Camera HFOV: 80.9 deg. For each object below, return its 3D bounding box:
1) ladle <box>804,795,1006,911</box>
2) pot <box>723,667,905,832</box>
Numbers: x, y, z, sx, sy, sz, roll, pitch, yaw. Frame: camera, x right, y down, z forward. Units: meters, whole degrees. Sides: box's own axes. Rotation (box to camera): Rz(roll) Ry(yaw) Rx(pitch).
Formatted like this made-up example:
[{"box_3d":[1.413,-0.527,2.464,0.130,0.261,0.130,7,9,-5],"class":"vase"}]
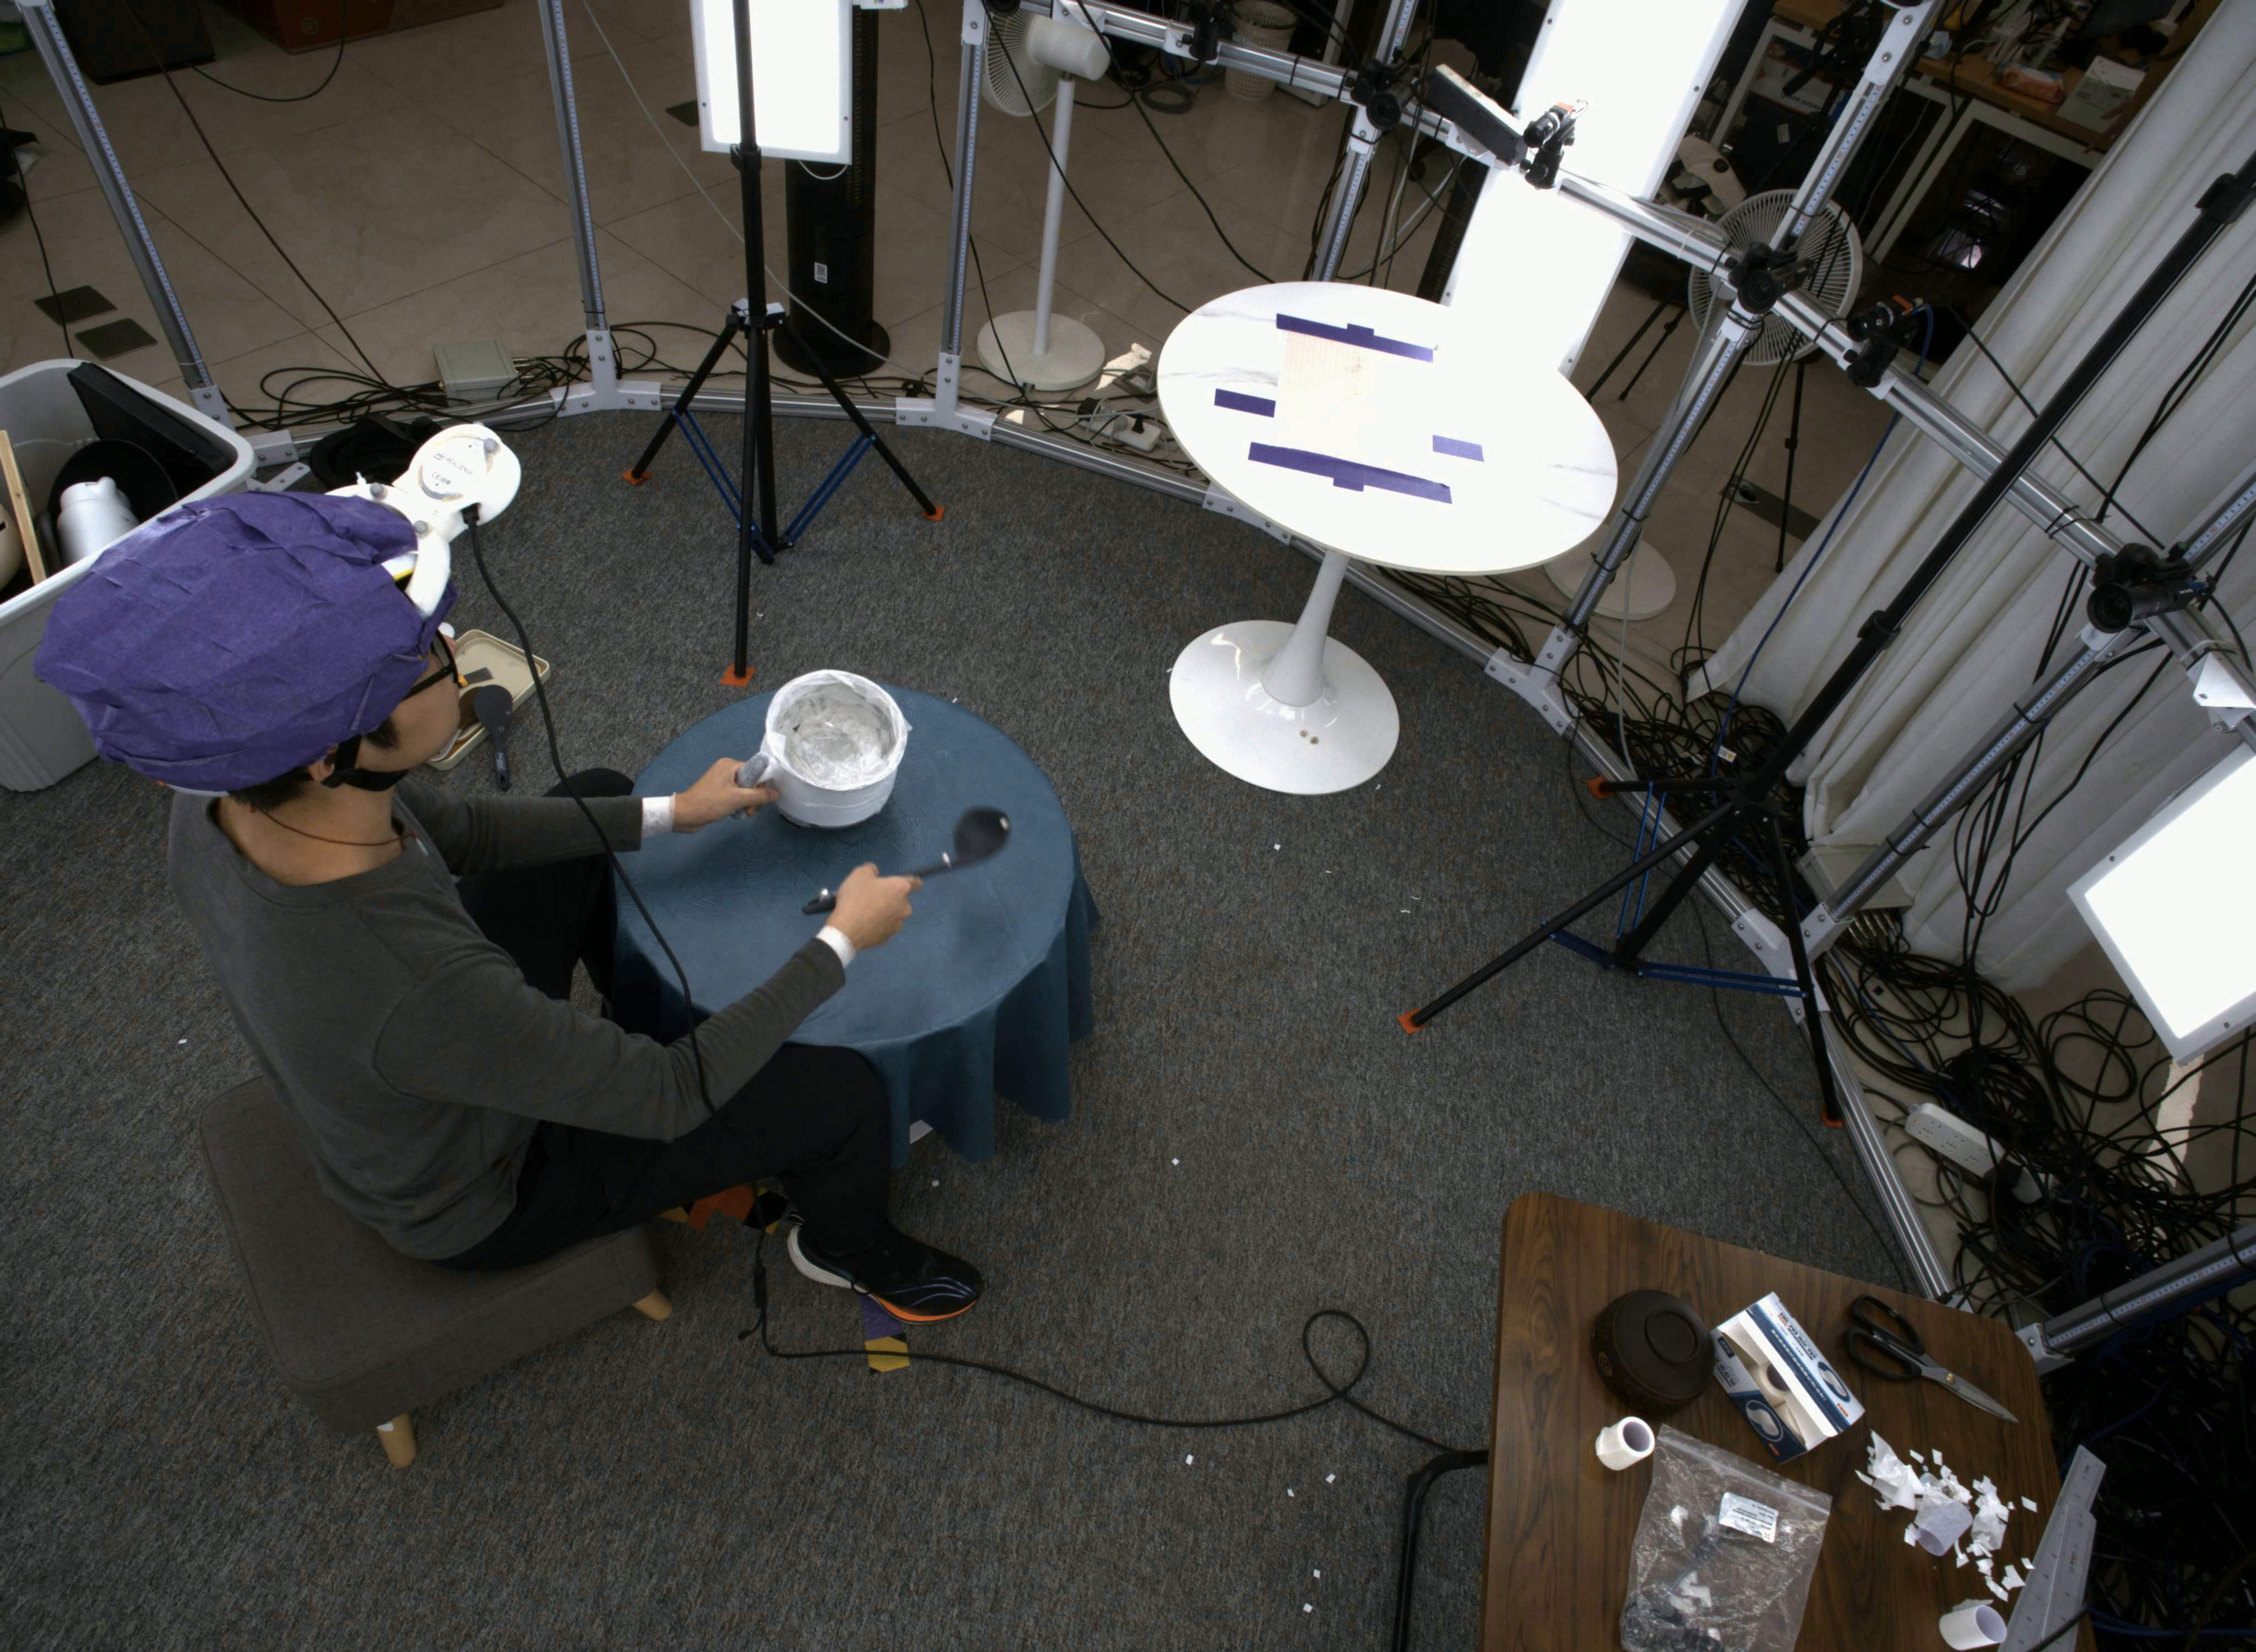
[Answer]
[{"box_3d":[-0.263,0.027,1.534,0.083,0.065,0.317,5,16,35],"class":"ladle"},{"box_3d":[-0.409,-0.083,1.673,0.235,0.137,0.177,-28,76,-32],"class":"pot"}]
